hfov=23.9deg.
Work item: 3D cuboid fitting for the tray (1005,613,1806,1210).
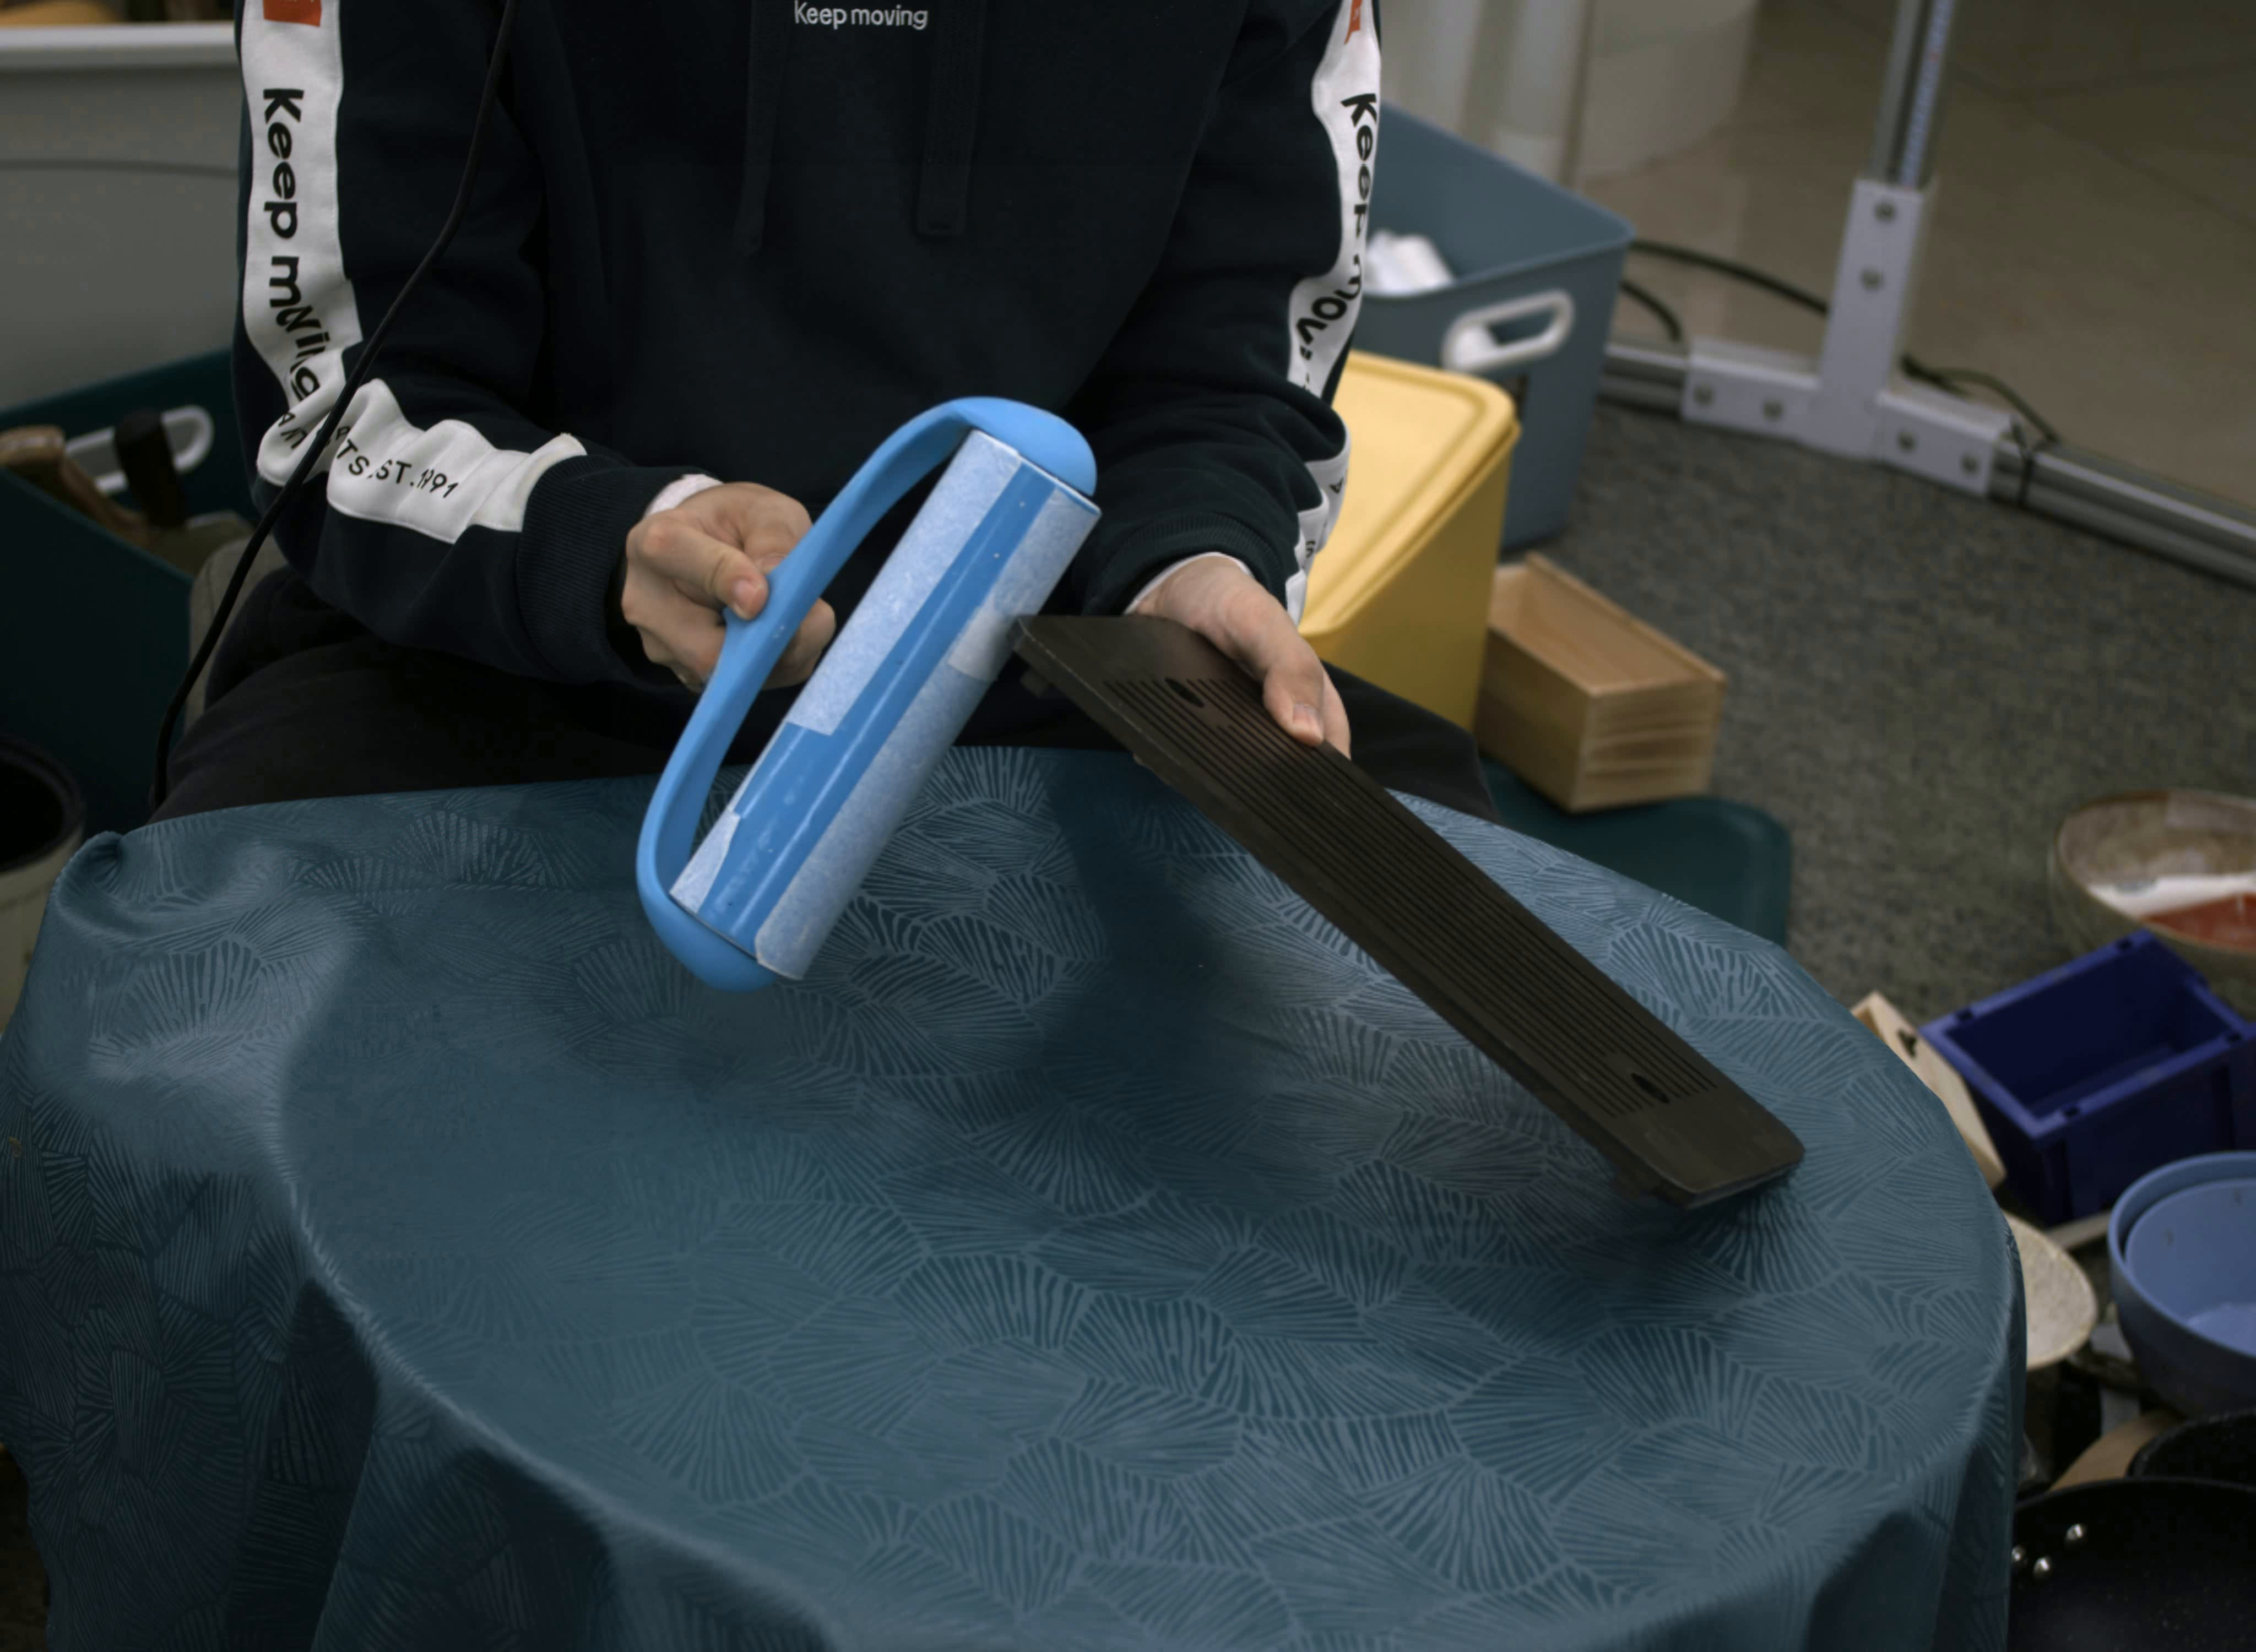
[{"bbox_3d":[0.095,0.027,1.829,0.307,0.018,0.169,40,15,16],"label":"tray"}]

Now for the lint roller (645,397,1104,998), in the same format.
[{"bbox_3d":[-0.110,-0.058,1.875,0.067,0.229,0.181,31,-1,-32],"label":"lint roller"}]
